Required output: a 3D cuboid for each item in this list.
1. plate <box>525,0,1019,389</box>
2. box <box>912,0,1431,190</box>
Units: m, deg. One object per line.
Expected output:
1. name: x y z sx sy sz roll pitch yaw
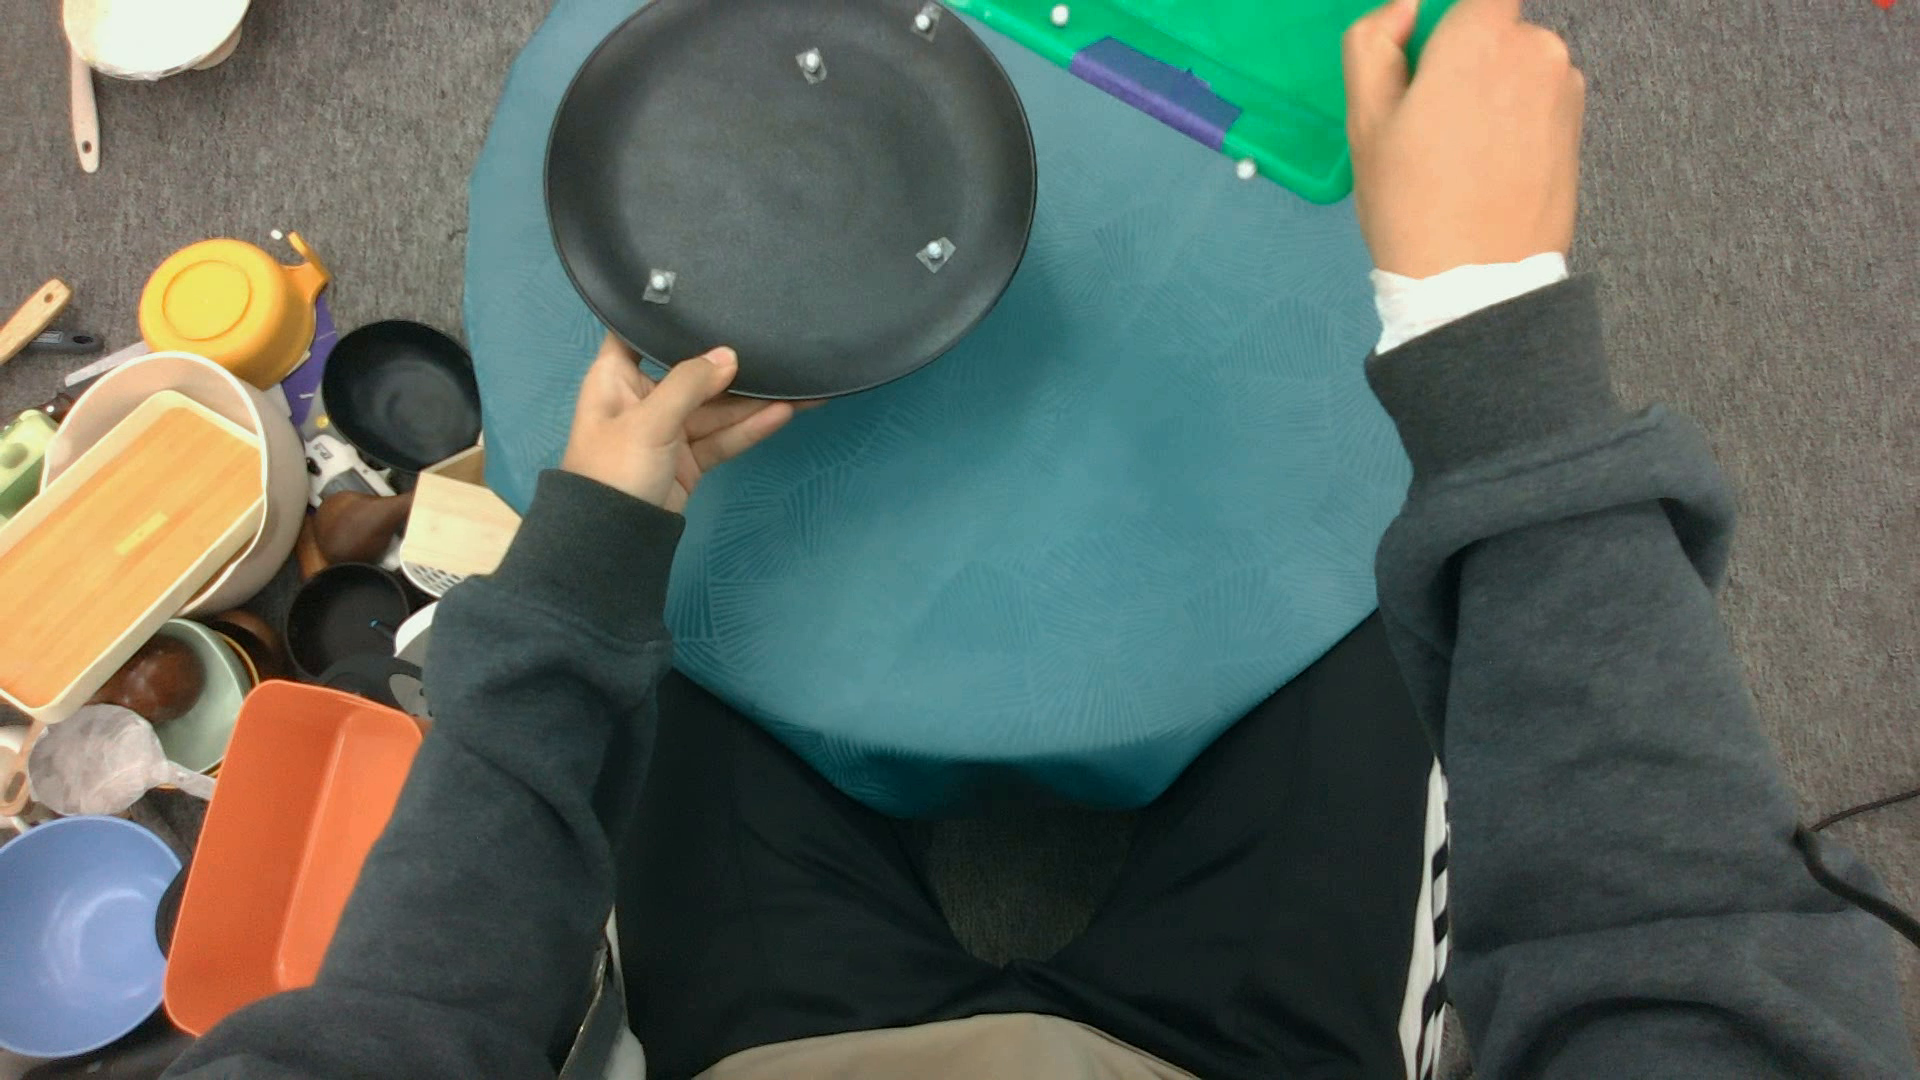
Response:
1. plate: -0.092 -0.185 0.691 0.244 0.023 0.245 1 74 -3
2. box: 0.086 -0.243 0.532 0.210 0.138 0.065 29 47 13
